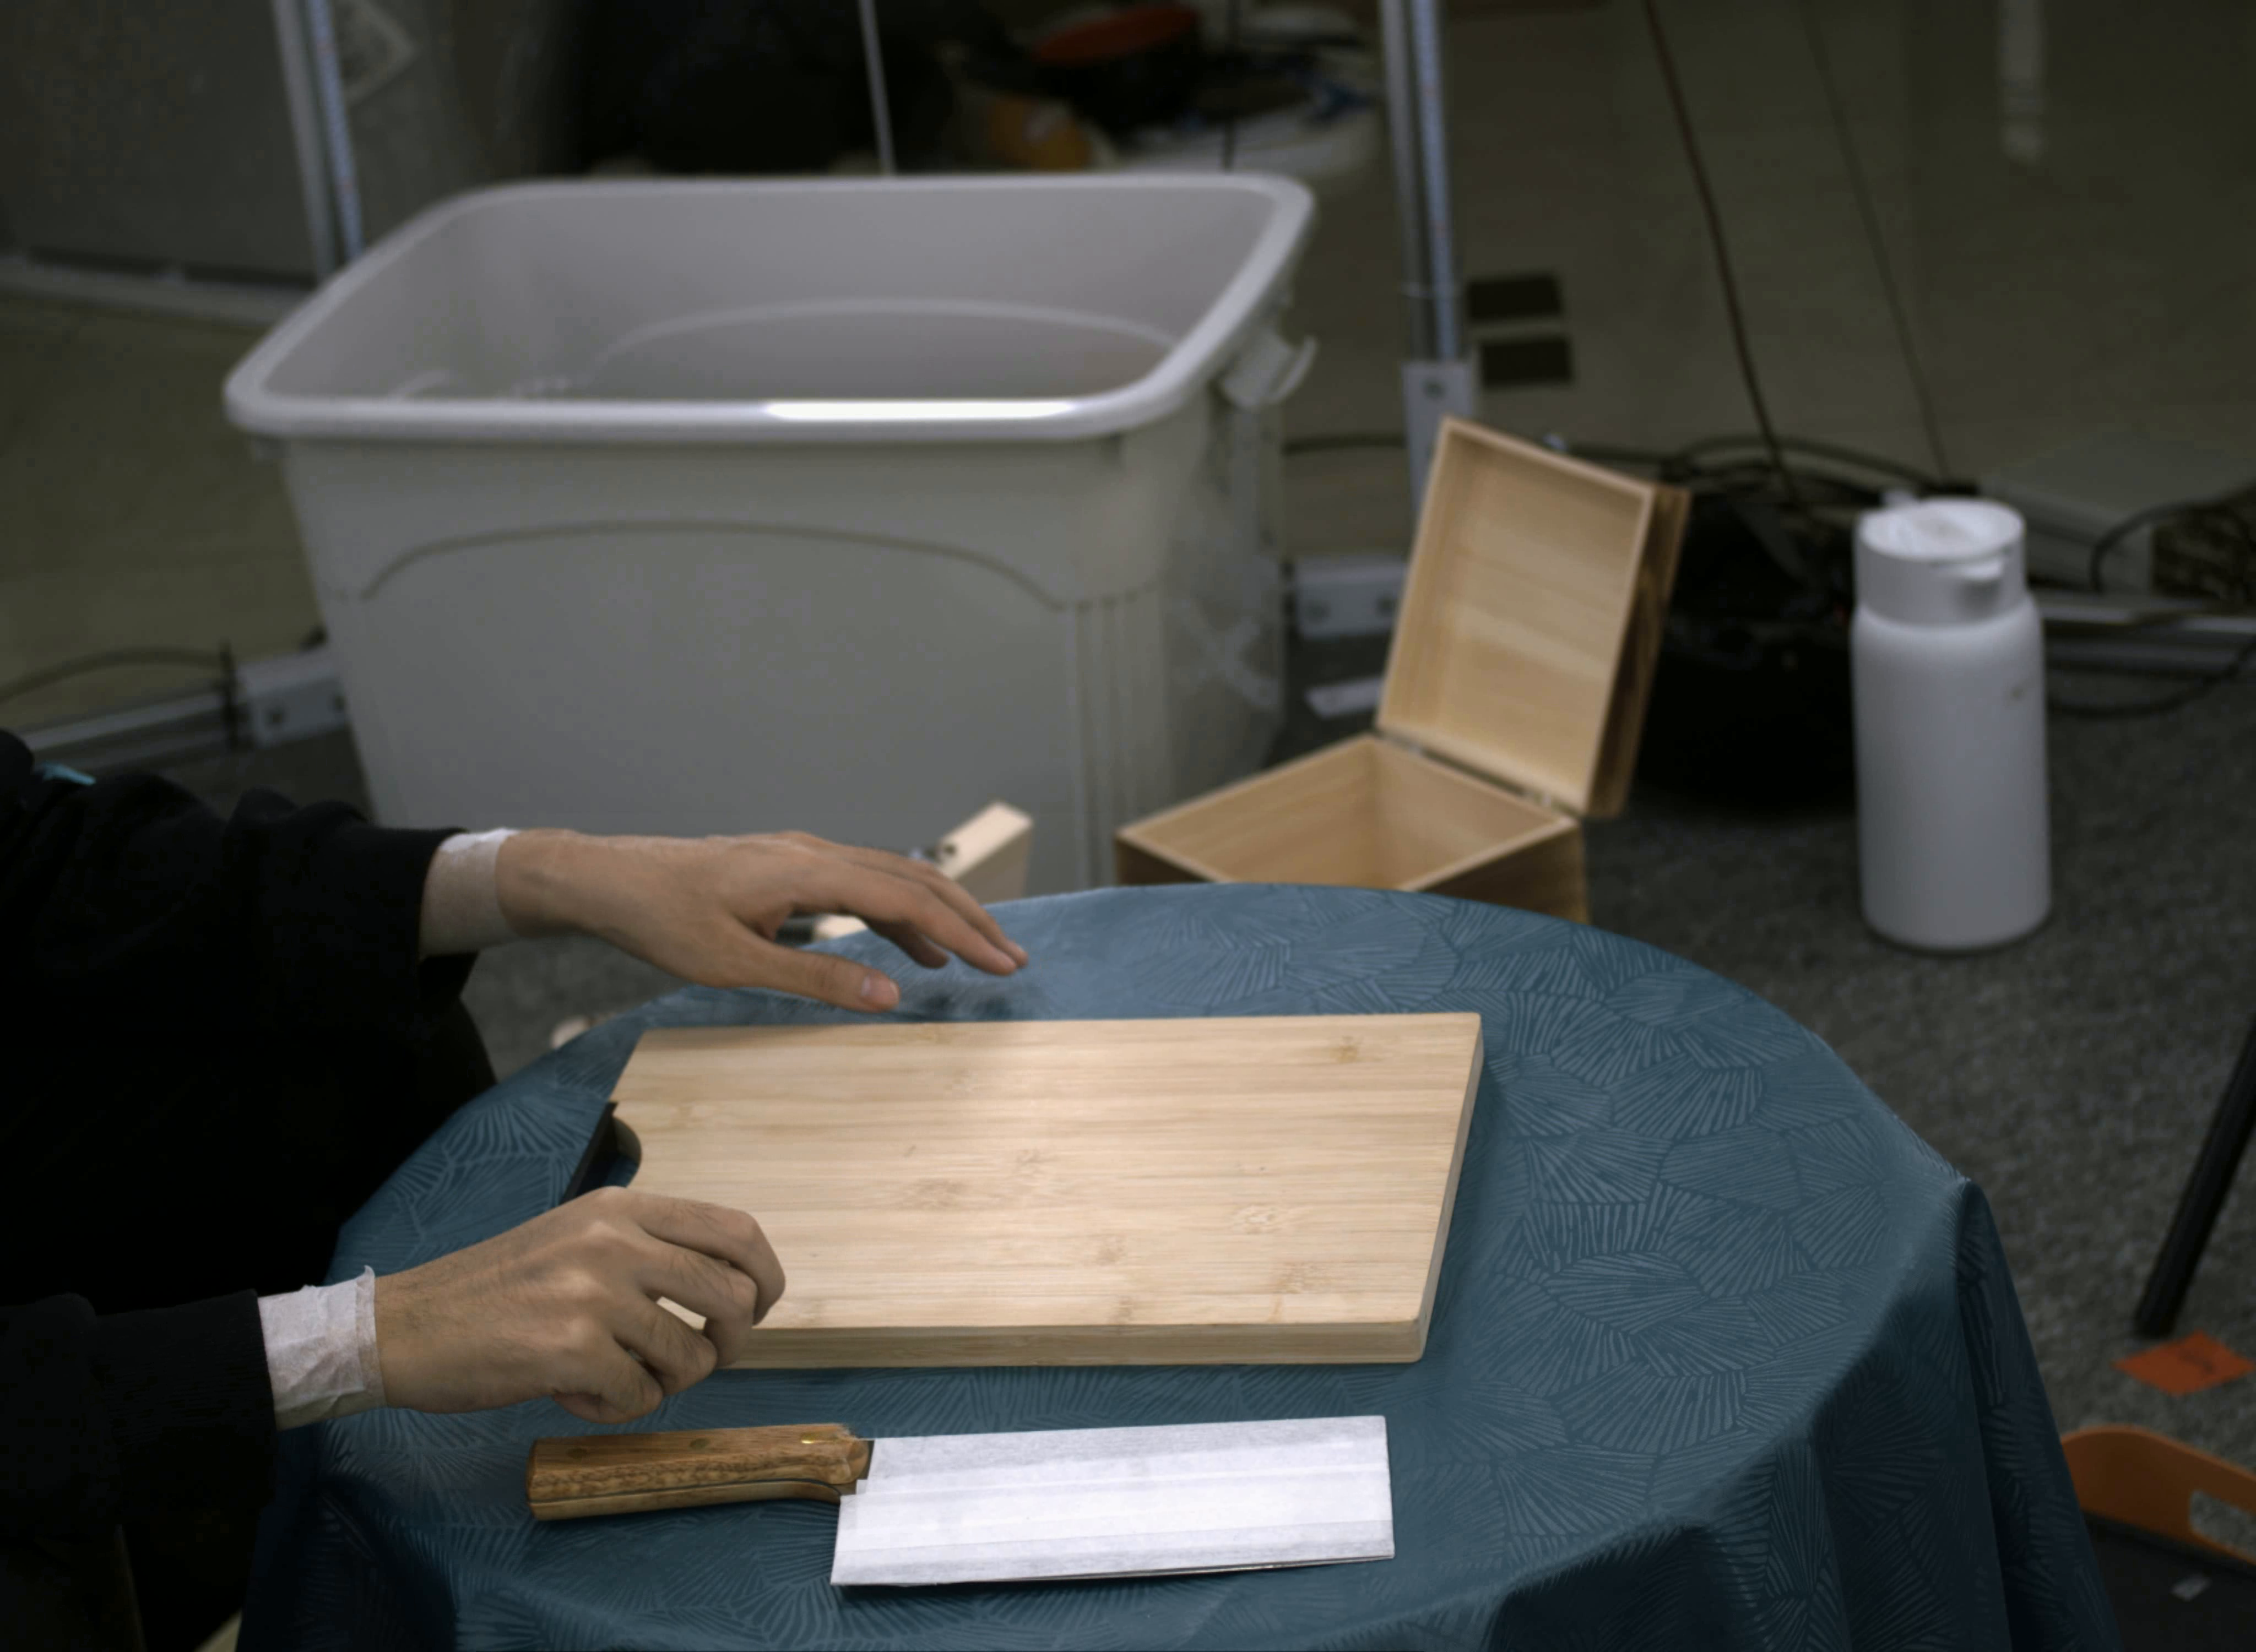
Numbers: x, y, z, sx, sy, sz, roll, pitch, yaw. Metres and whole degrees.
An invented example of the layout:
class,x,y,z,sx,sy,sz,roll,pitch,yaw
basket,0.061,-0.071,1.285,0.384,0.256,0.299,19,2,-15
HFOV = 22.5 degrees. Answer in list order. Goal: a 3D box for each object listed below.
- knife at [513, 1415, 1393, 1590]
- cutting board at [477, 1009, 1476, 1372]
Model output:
class,x,y,z,sx,sy,sz,roll,pitch,yaw
knife,-0.062,0.232,1.945,0.305,0.021,0.091,-3,27,2
cutting board,-0.051,0.136,2.145,0.348,0.024,0.247,-2,25,10
